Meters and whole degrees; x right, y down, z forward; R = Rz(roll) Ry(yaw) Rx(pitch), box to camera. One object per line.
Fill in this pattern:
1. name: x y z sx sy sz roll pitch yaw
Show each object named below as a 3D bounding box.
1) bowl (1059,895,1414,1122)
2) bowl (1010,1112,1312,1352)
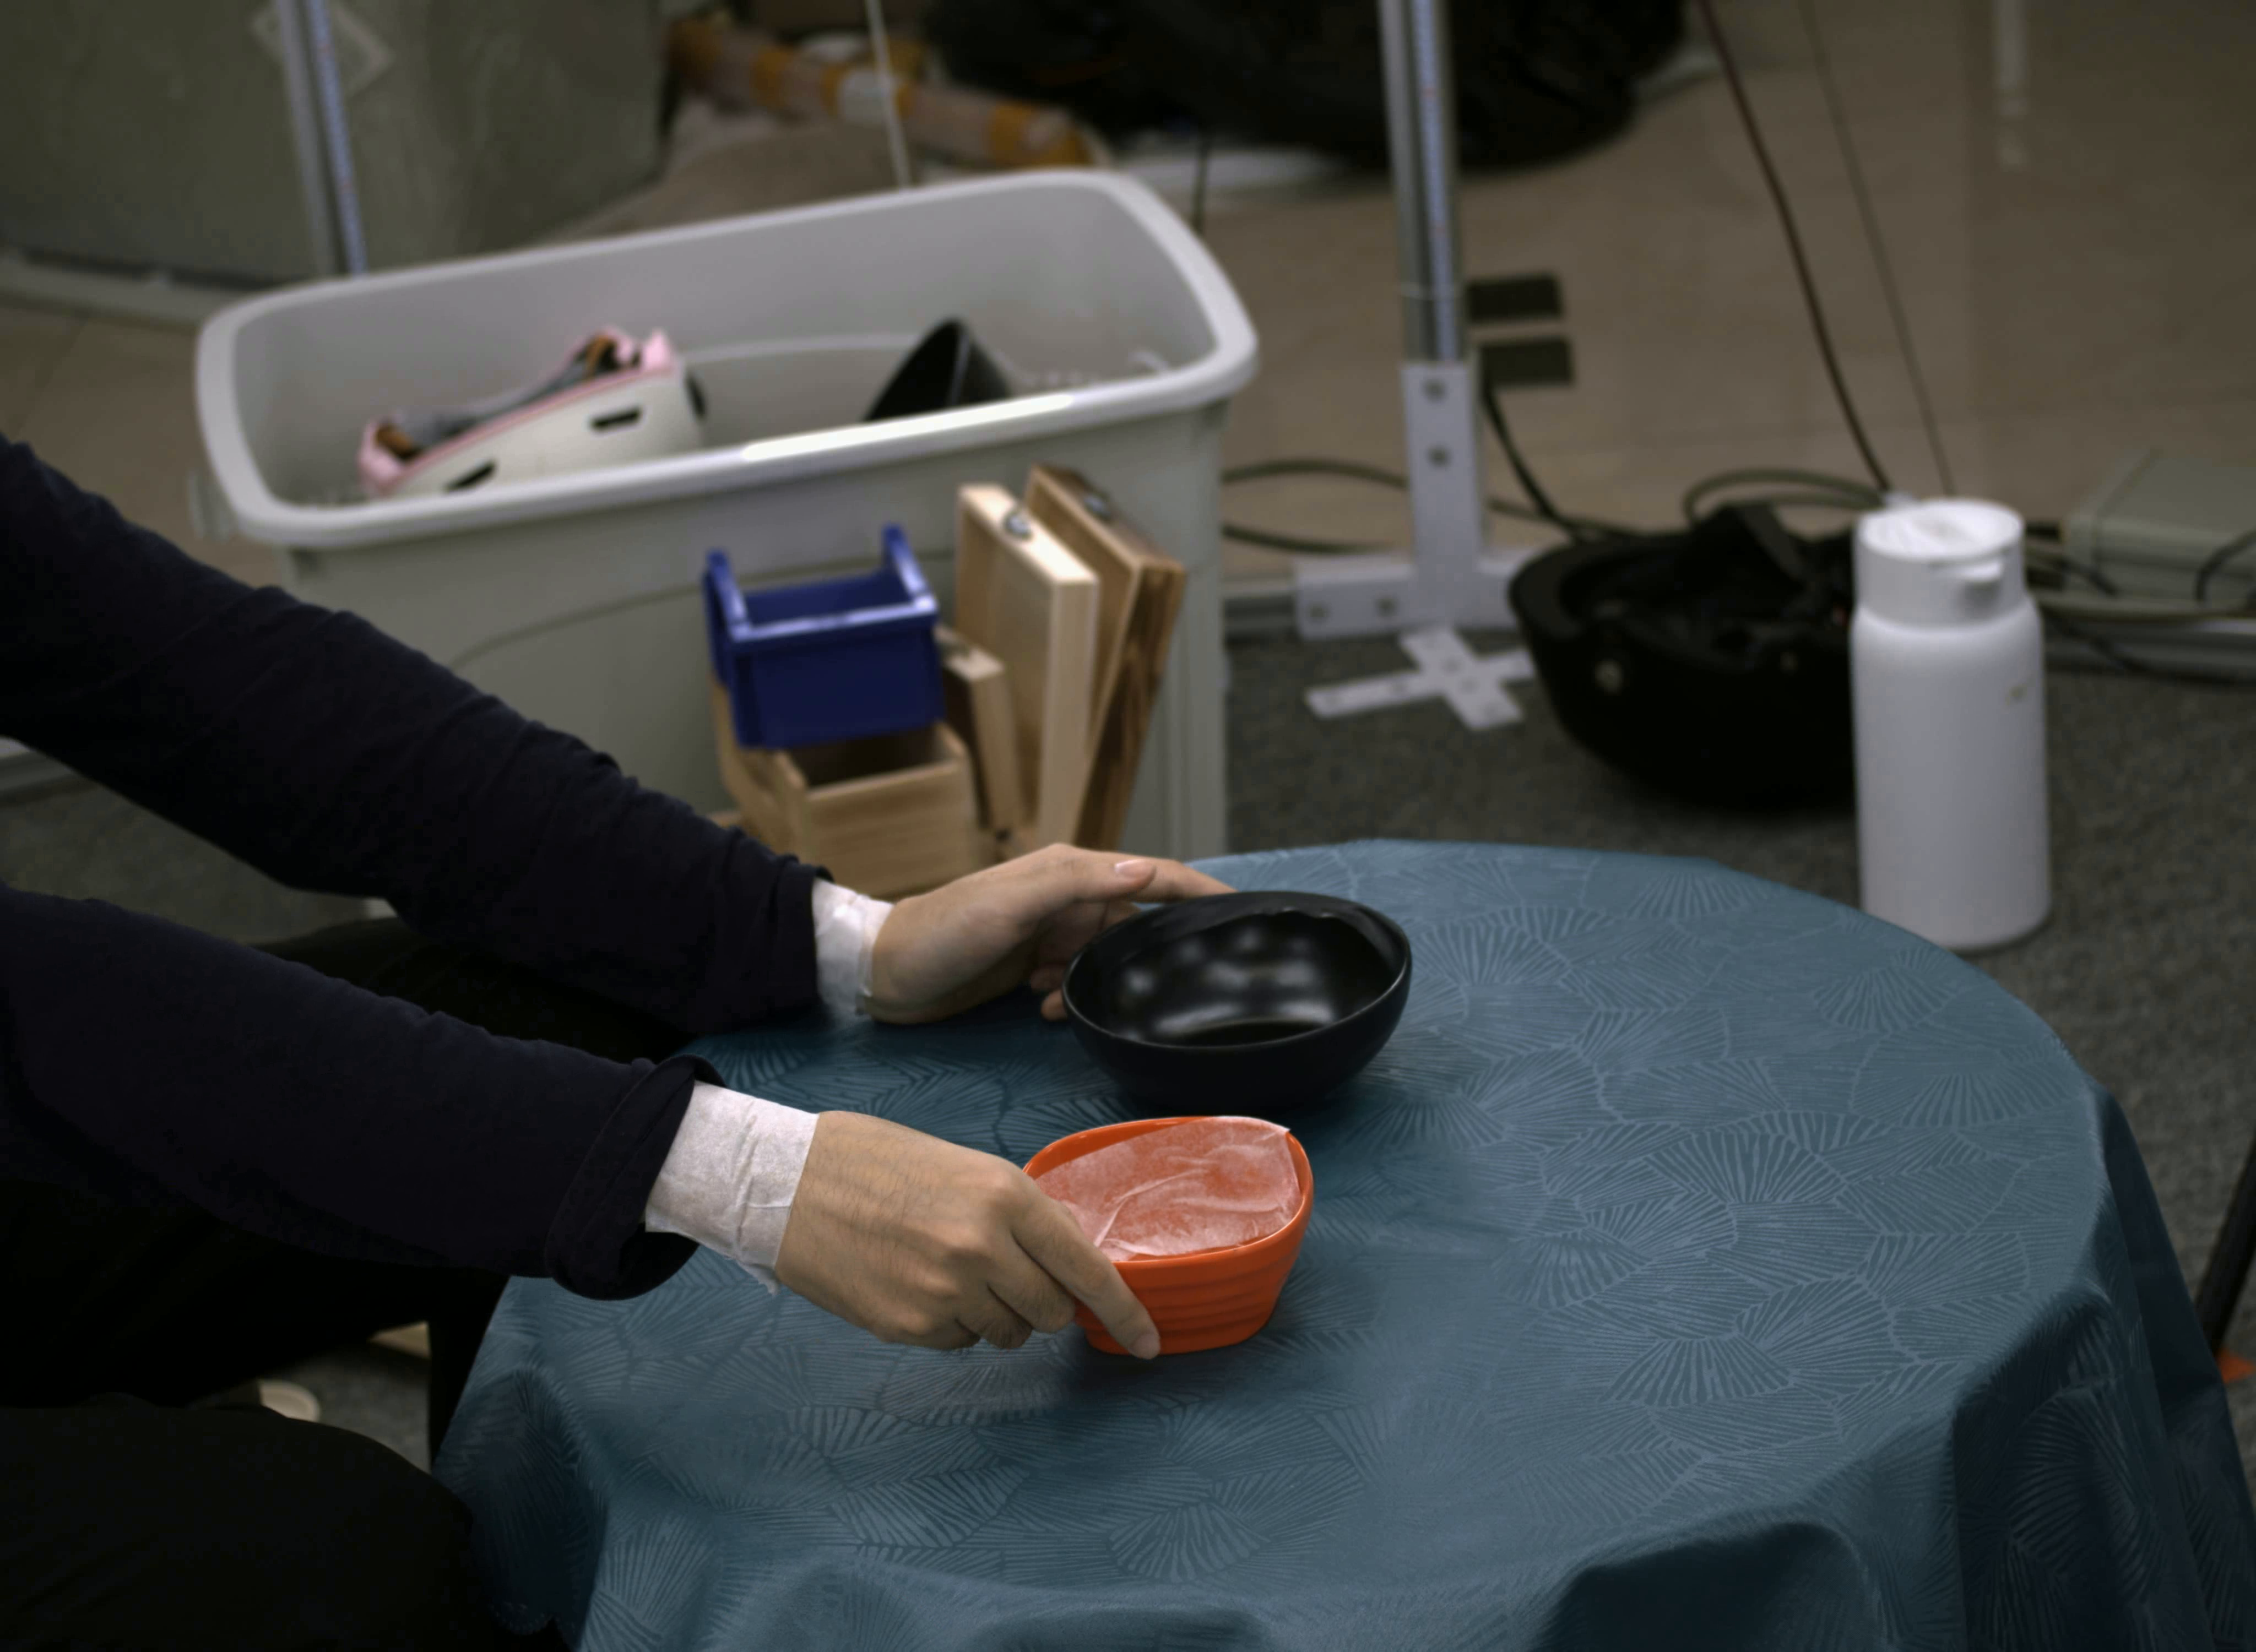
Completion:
1. bowl: 0.045 0.079 2.217 0.140 0.050 0.138 -9 25 4
2. bowl: 0.013 0.152 2.057 0.119 0.052 0.117 -4 26 2
